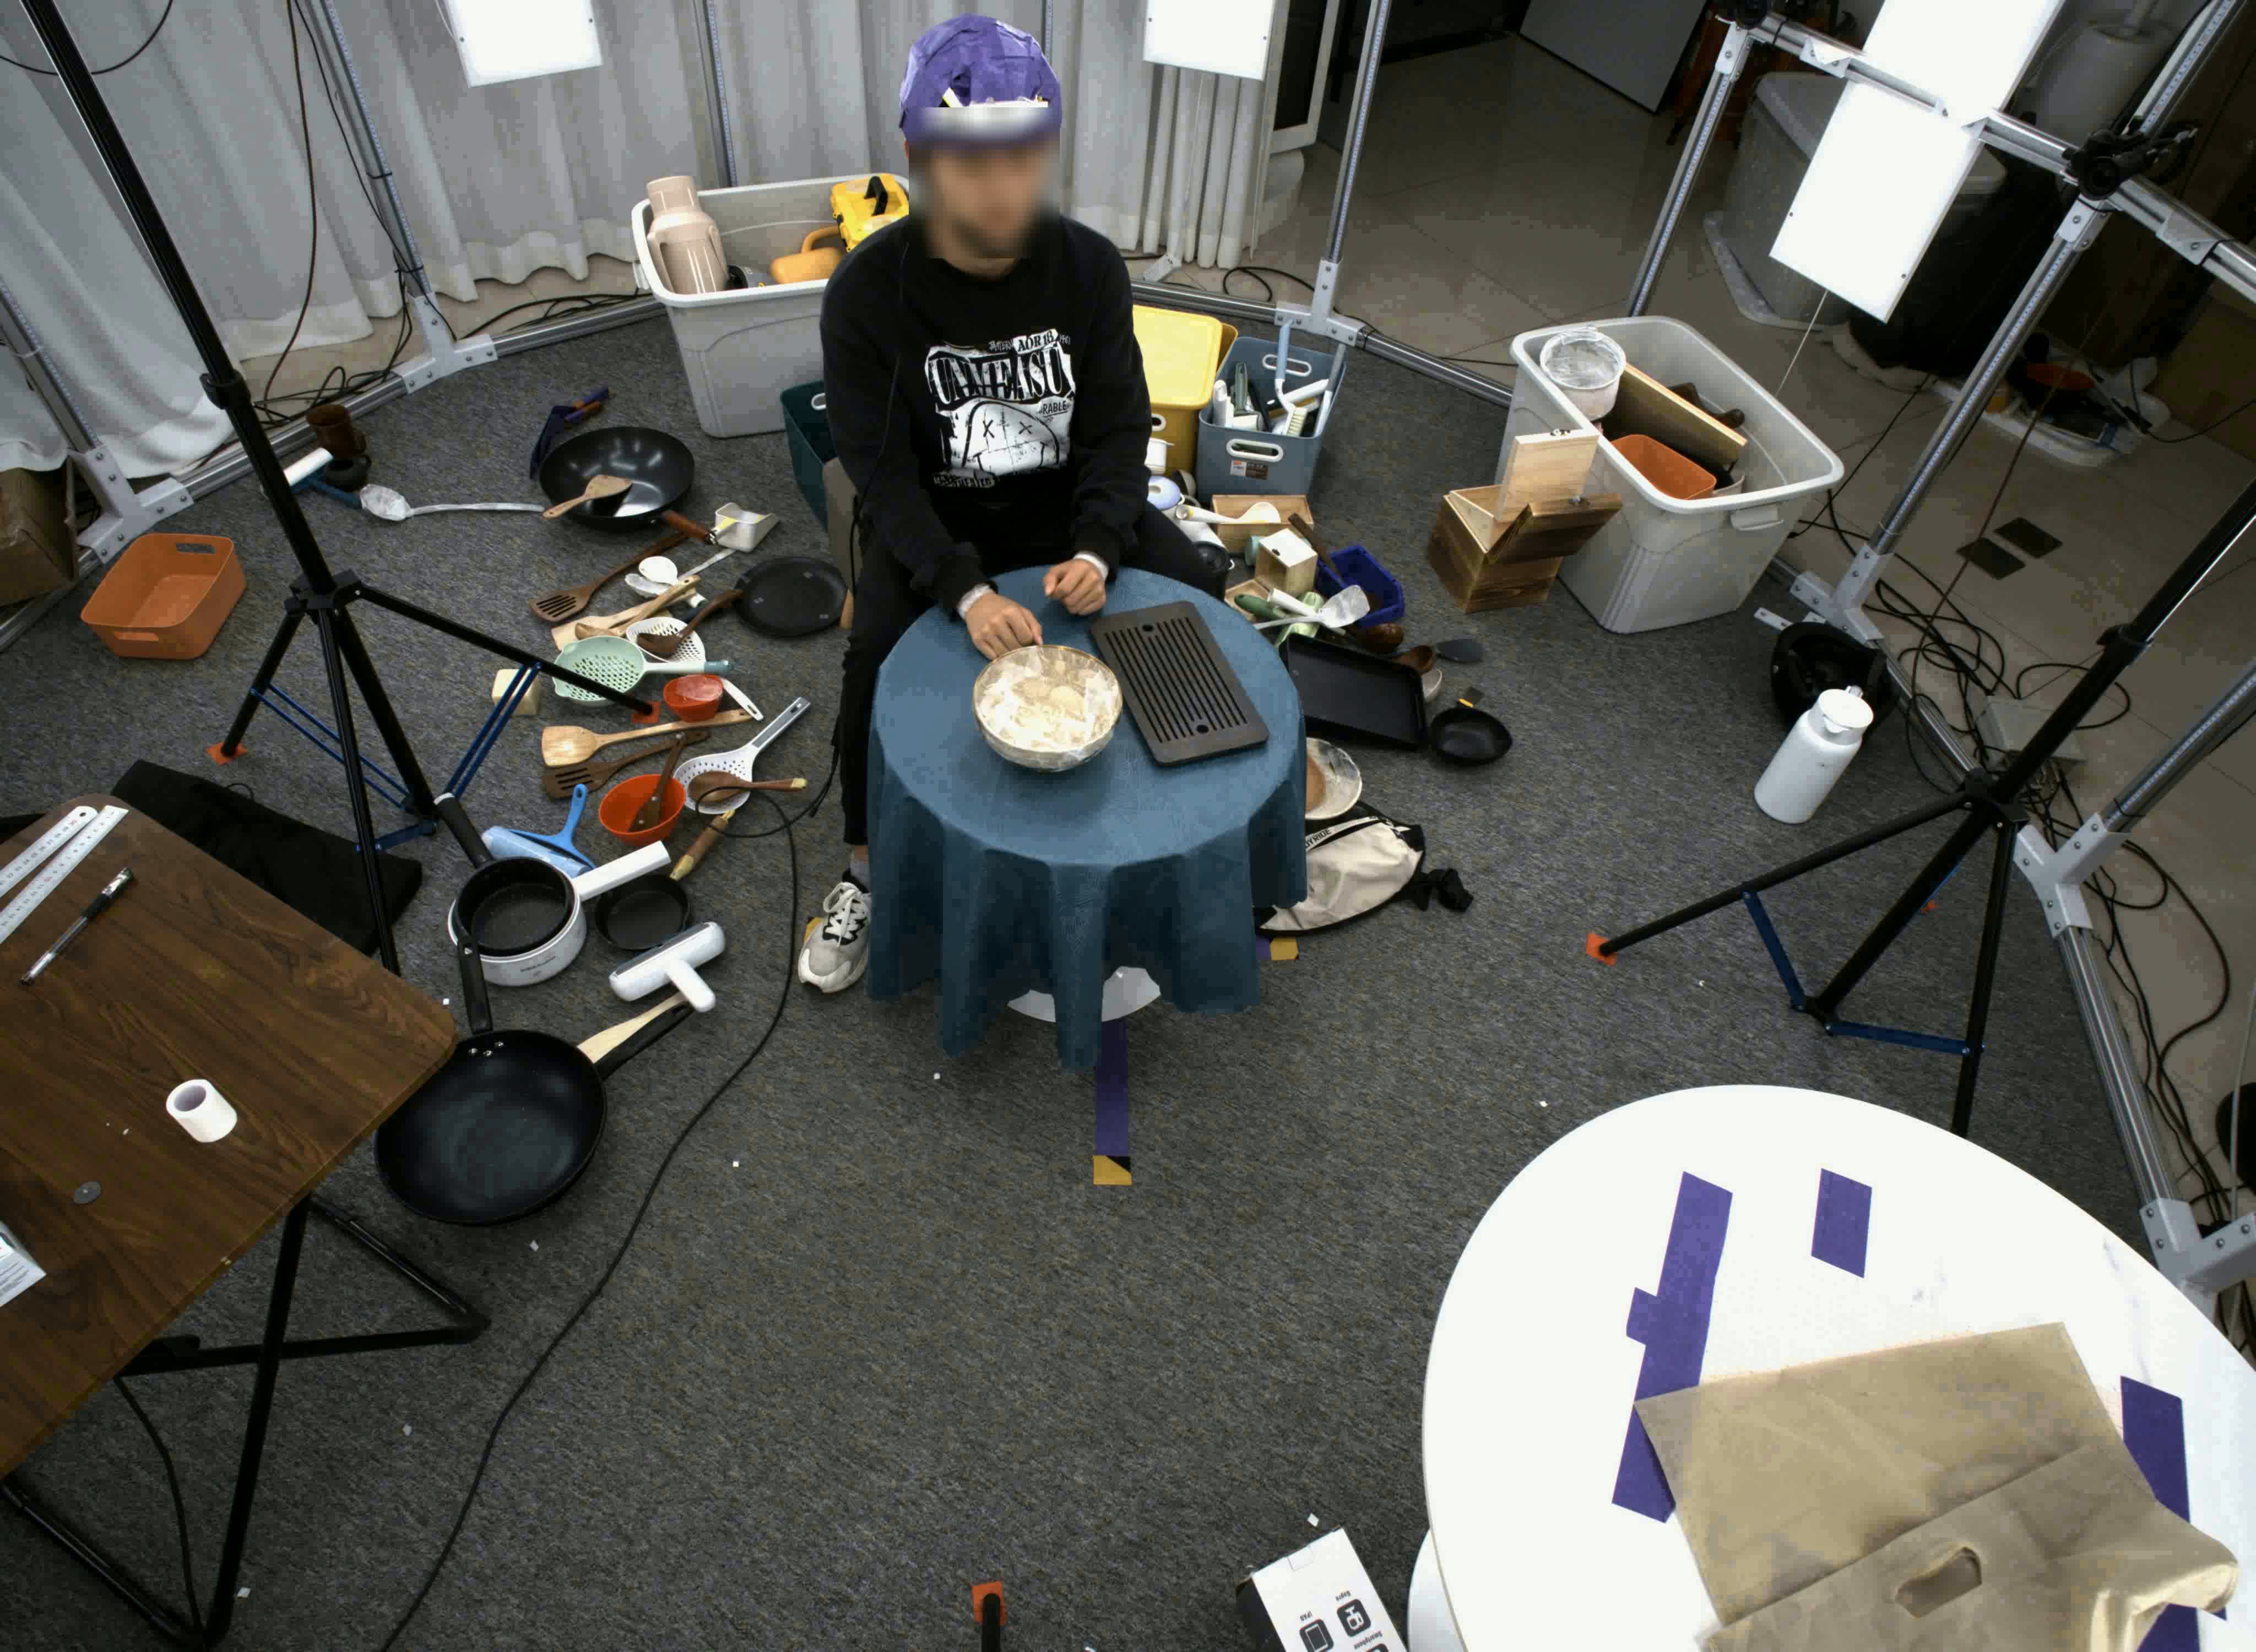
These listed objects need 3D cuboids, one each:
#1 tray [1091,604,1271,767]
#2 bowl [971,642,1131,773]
[{"bbox_3d":[0.072,-0.208,1.859,0.170,0.018,0.313,-13,51,-15],"label":"tray"},{"bbox_3d":[-0.105,-0.146,1.744,0.214,0.092,0.220,1,49,-1],"label":"bowl"}]
